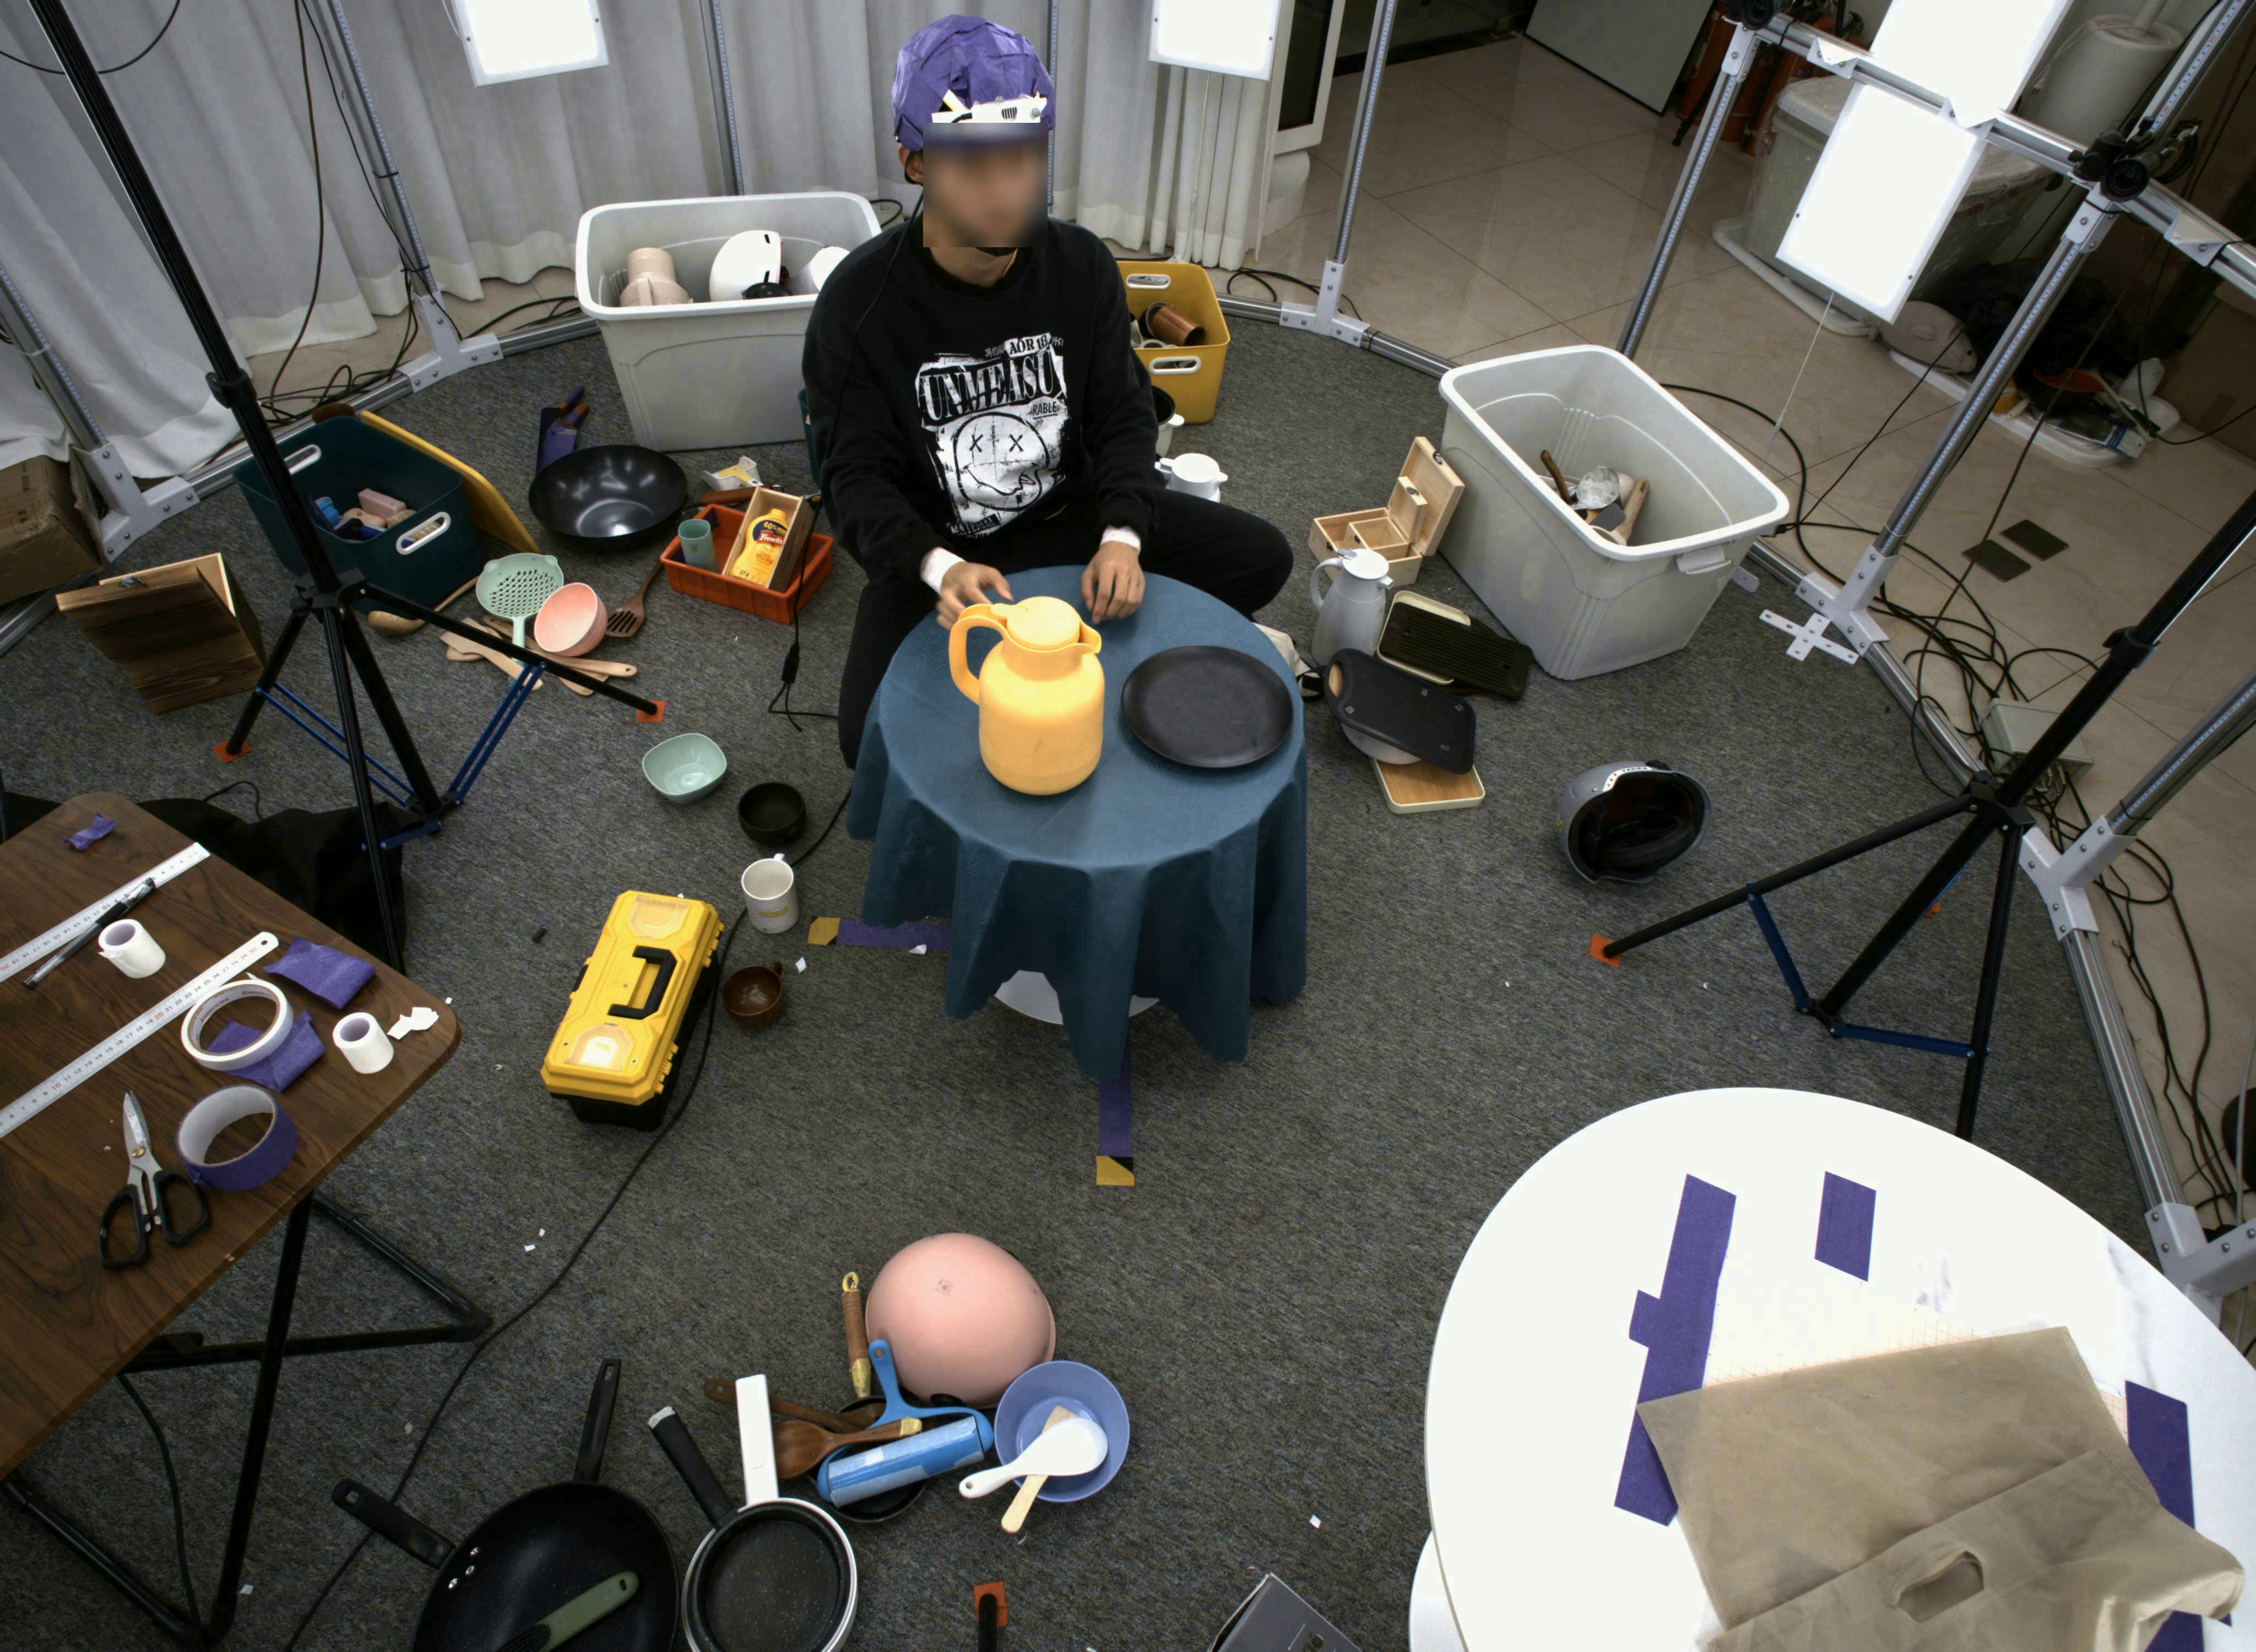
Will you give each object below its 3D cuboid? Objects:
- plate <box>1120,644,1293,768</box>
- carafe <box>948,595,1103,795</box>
[{"bbox_3d":[0.110,-0.166,1.804,0.244,0.023,0.250,2,49,-2],"label":"plate"},{"bbox_3d":[-0.131,-0.179,1.646,0.203,0.254,0.167,19,48,10],"label":"carafe"}]
